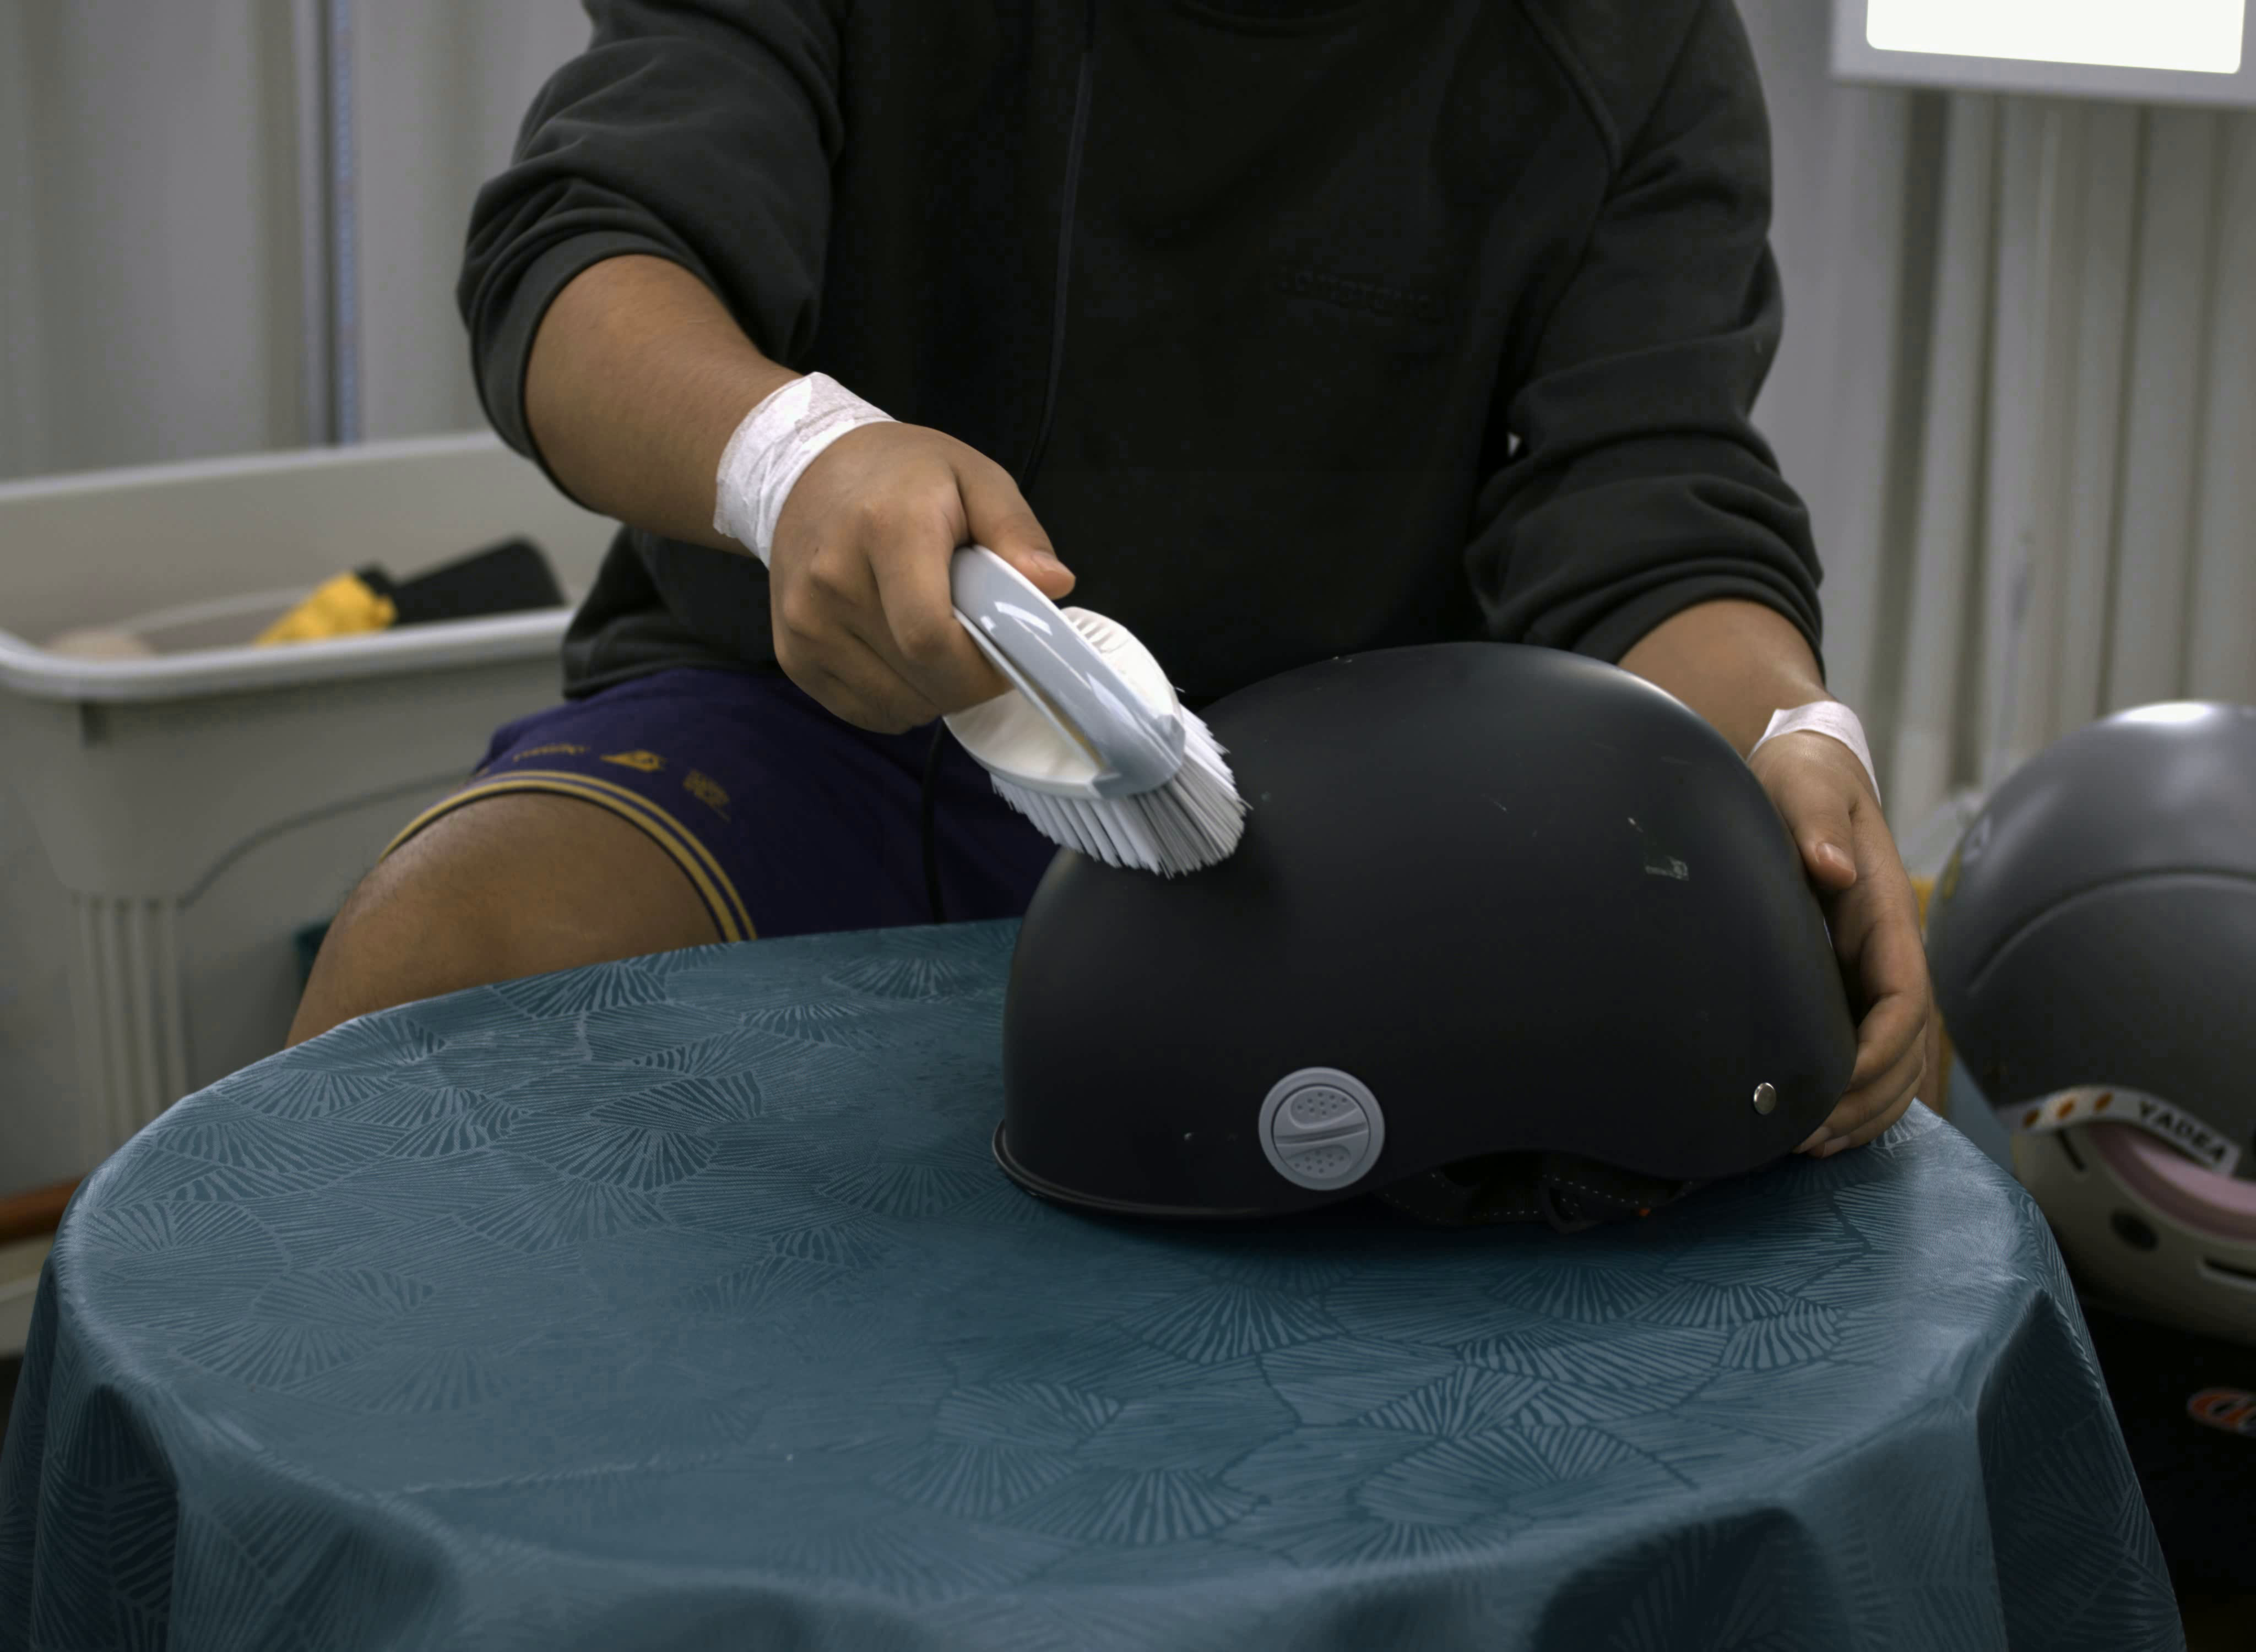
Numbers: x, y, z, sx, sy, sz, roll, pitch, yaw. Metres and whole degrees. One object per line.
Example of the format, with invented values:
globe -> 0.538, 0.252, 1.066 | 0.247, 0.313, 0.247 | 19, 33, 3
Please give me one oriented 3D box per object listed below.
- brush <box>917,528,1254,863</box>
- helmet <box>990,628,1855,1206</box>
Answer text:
brush -> -0.016, -0.044, 1.584 | 0.061, 0.095, 0.173 | -42, 24, -2
helmet -> 0.090, 0.024, 1.645 | 0.272, 0.168, 0.229 | -2, 15, -1
